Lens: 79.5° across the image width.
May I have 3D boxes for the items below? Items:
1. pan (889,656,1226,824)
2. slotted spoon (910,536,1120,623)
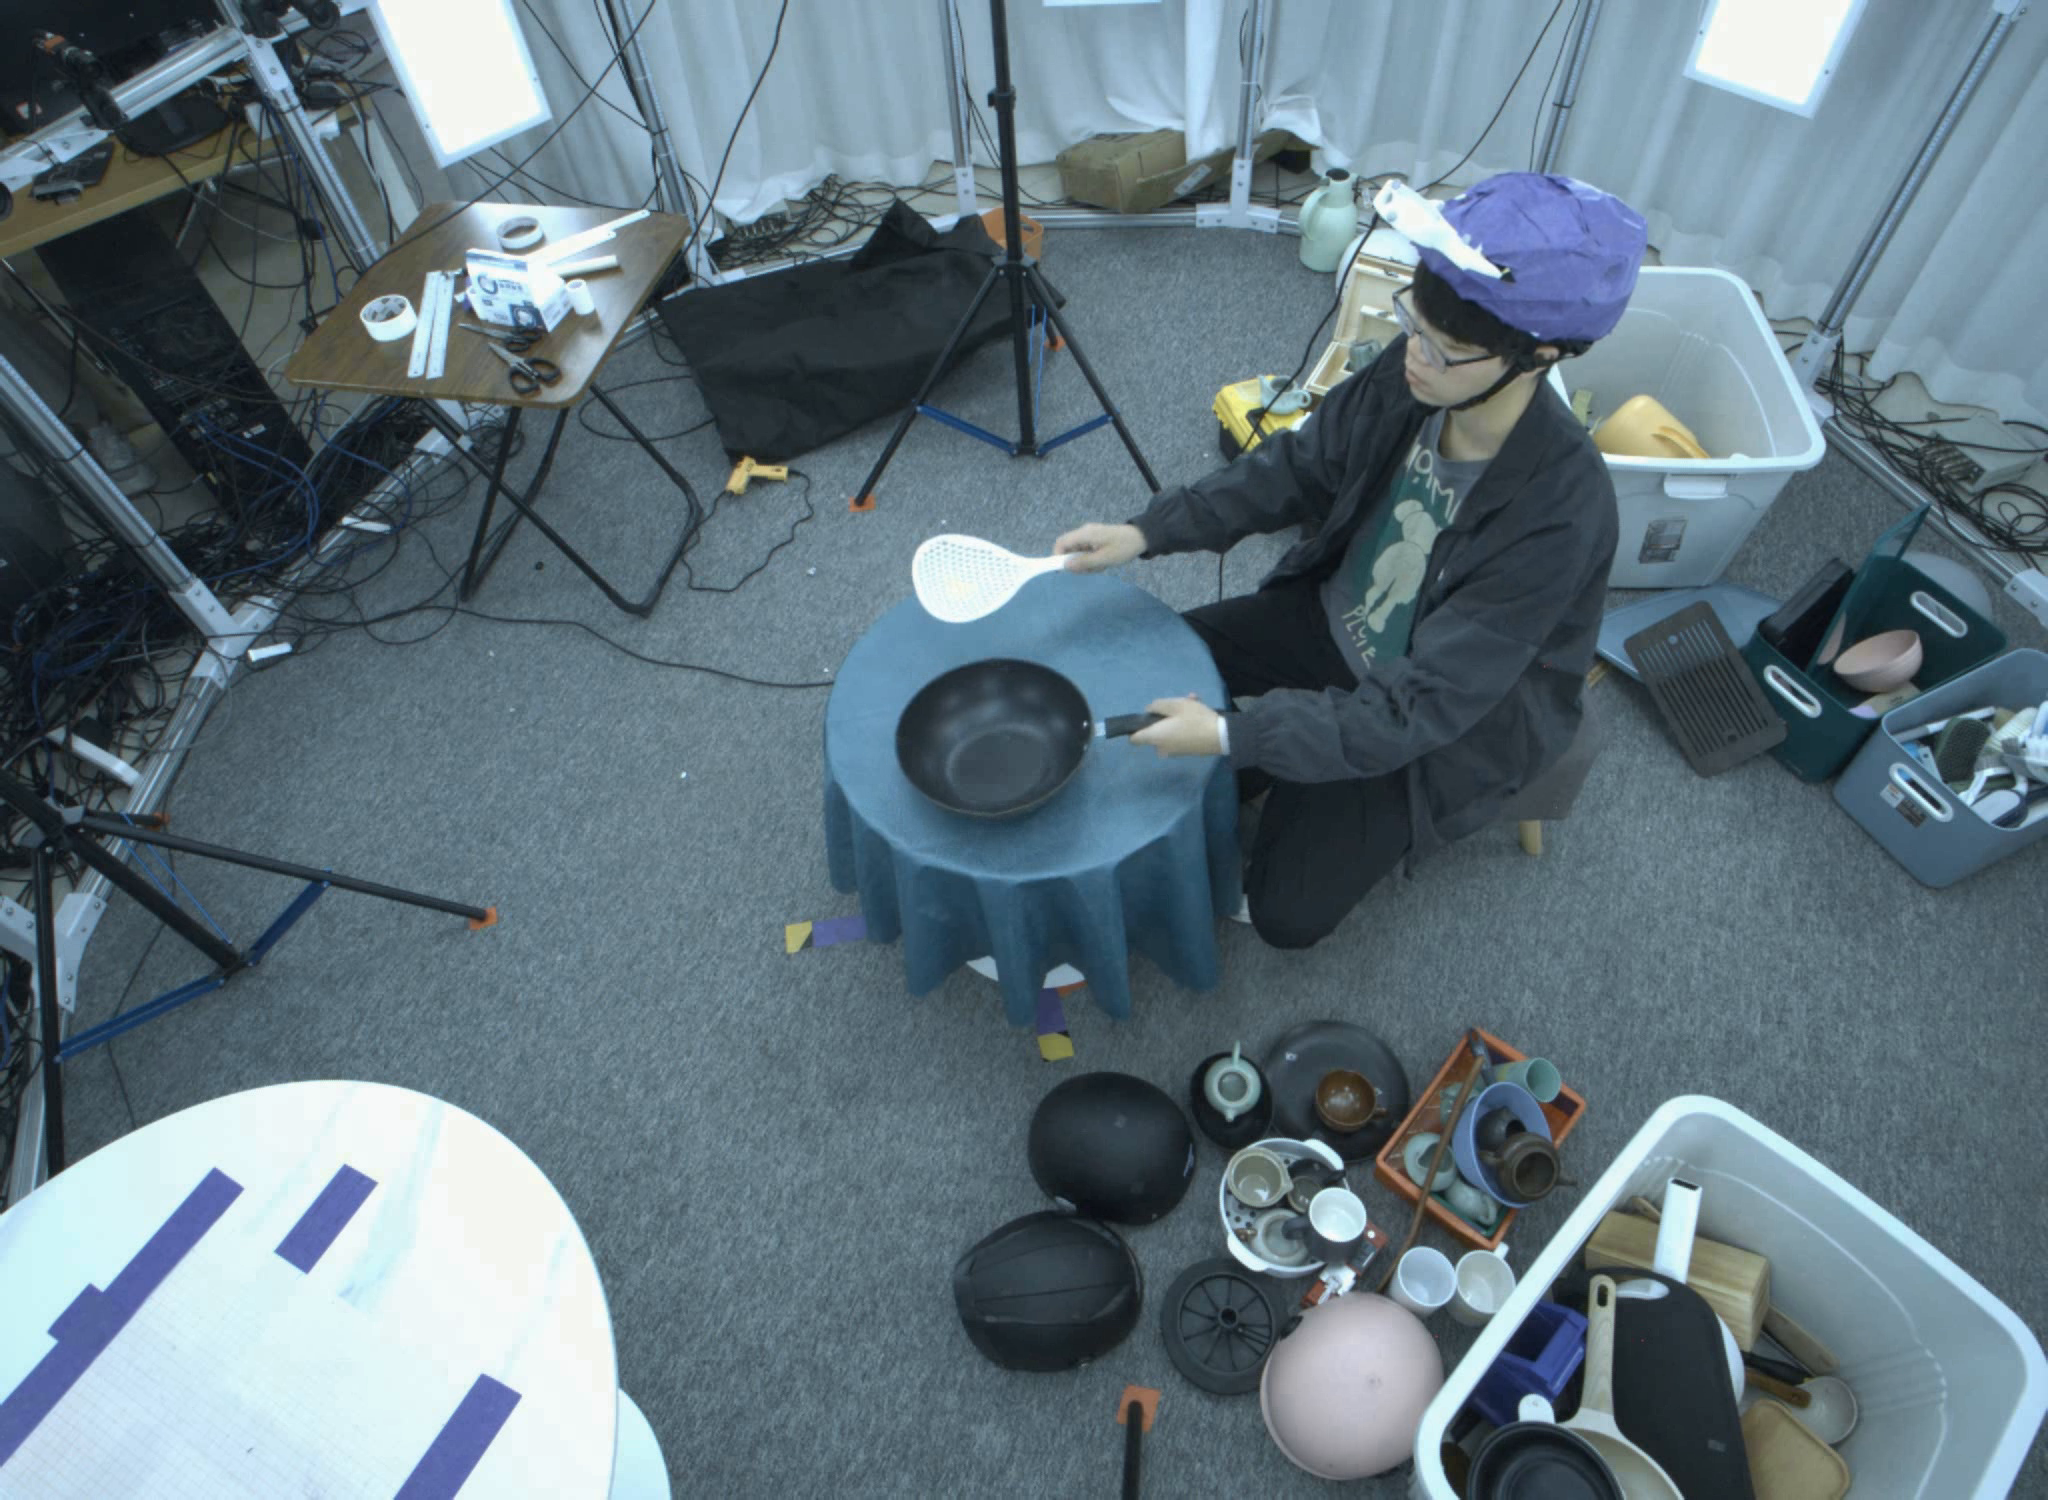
[{"bbox_3d":[0.048,-0.007,1.721,0.463,0.088,0.285,-3,53,2],"label":"pan"},{"bbox_3d":[-0.004,-0.267,1.837,0.352,0.050,0.136,-13,80,-20],"label":"slotted spoon"}]
